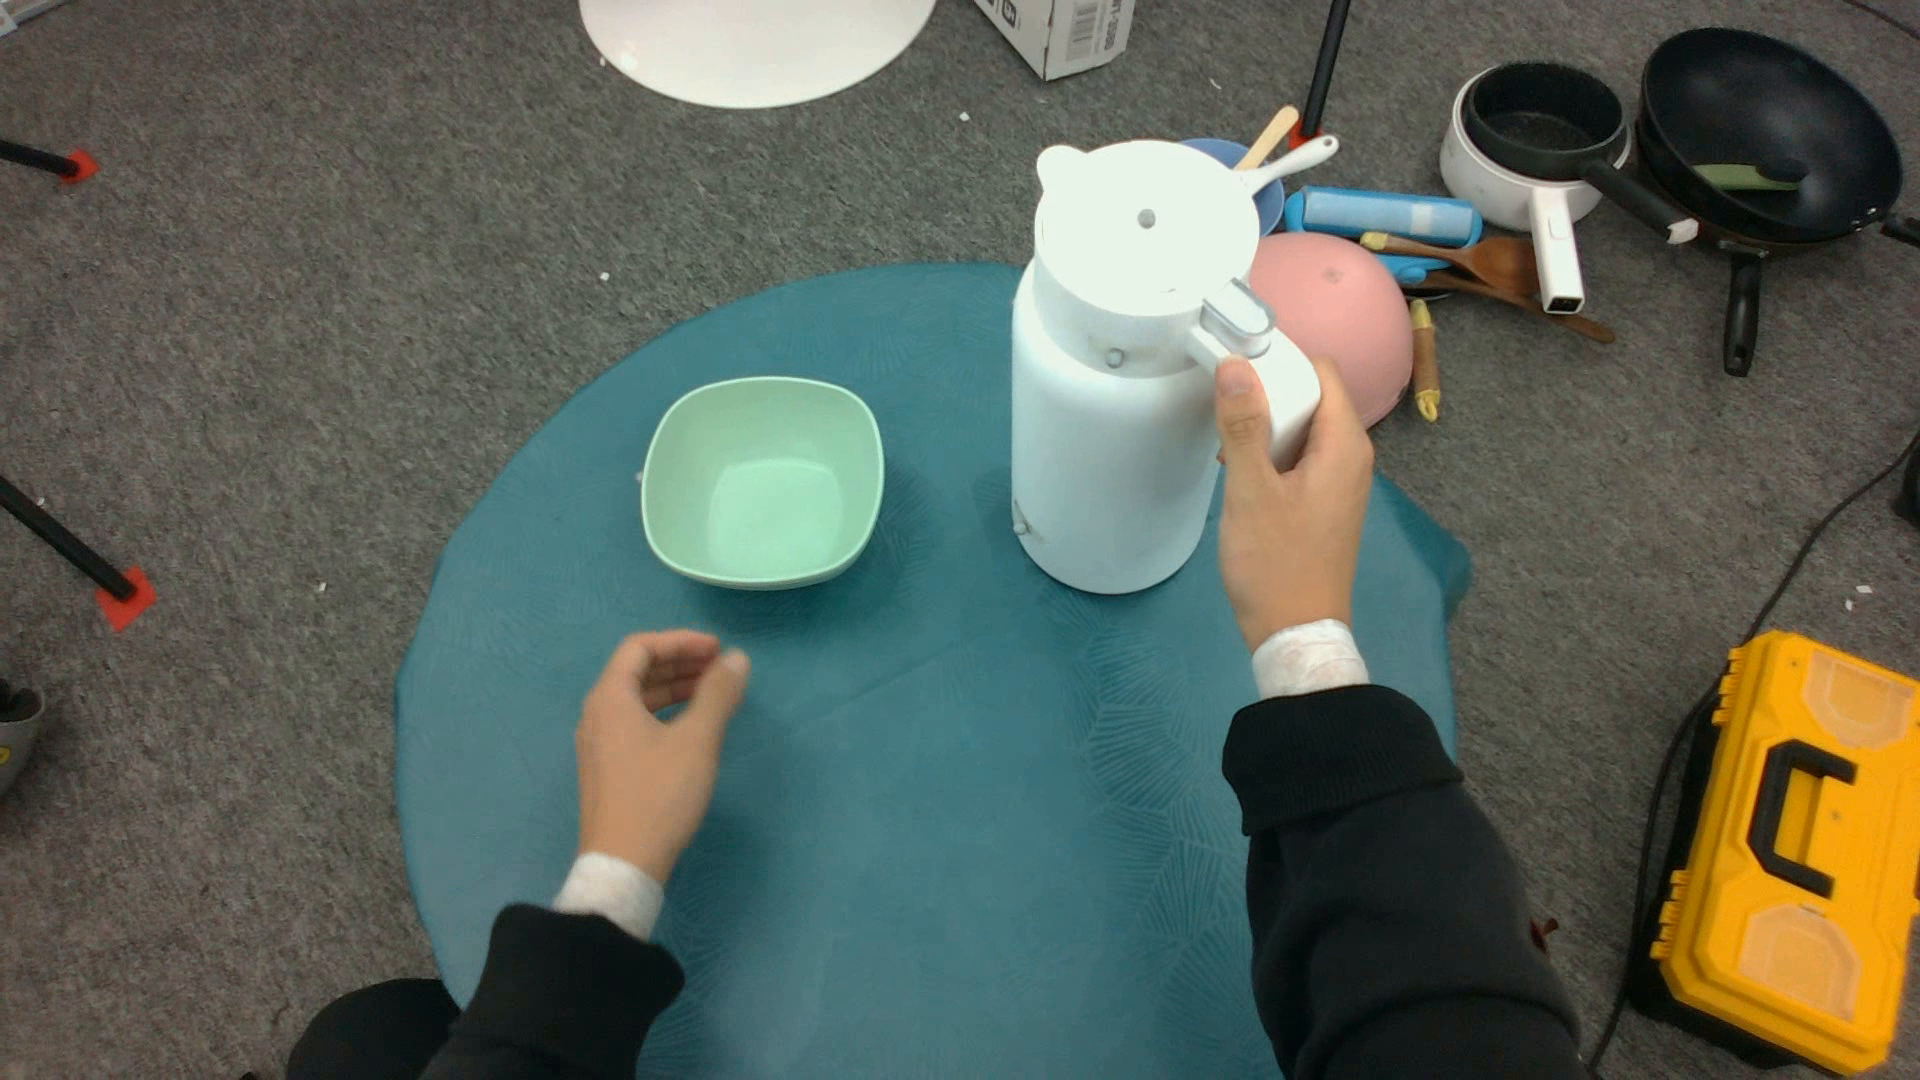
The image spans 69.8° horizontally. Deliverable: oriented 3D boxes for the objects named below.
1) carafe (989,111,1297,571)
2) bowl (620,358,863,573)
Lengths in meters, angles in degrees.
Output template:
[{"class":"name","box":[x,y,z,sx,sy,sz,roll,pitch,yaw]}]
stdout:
[{"class":"carafe","box":[0.086,-0.080,0.715,0.124,0.268,0.173,-37,68,-19]},{"class":"bowl","box":[-0.125,-0.035,0.812,0.151,0.058,0.152,0,62,0]}]
